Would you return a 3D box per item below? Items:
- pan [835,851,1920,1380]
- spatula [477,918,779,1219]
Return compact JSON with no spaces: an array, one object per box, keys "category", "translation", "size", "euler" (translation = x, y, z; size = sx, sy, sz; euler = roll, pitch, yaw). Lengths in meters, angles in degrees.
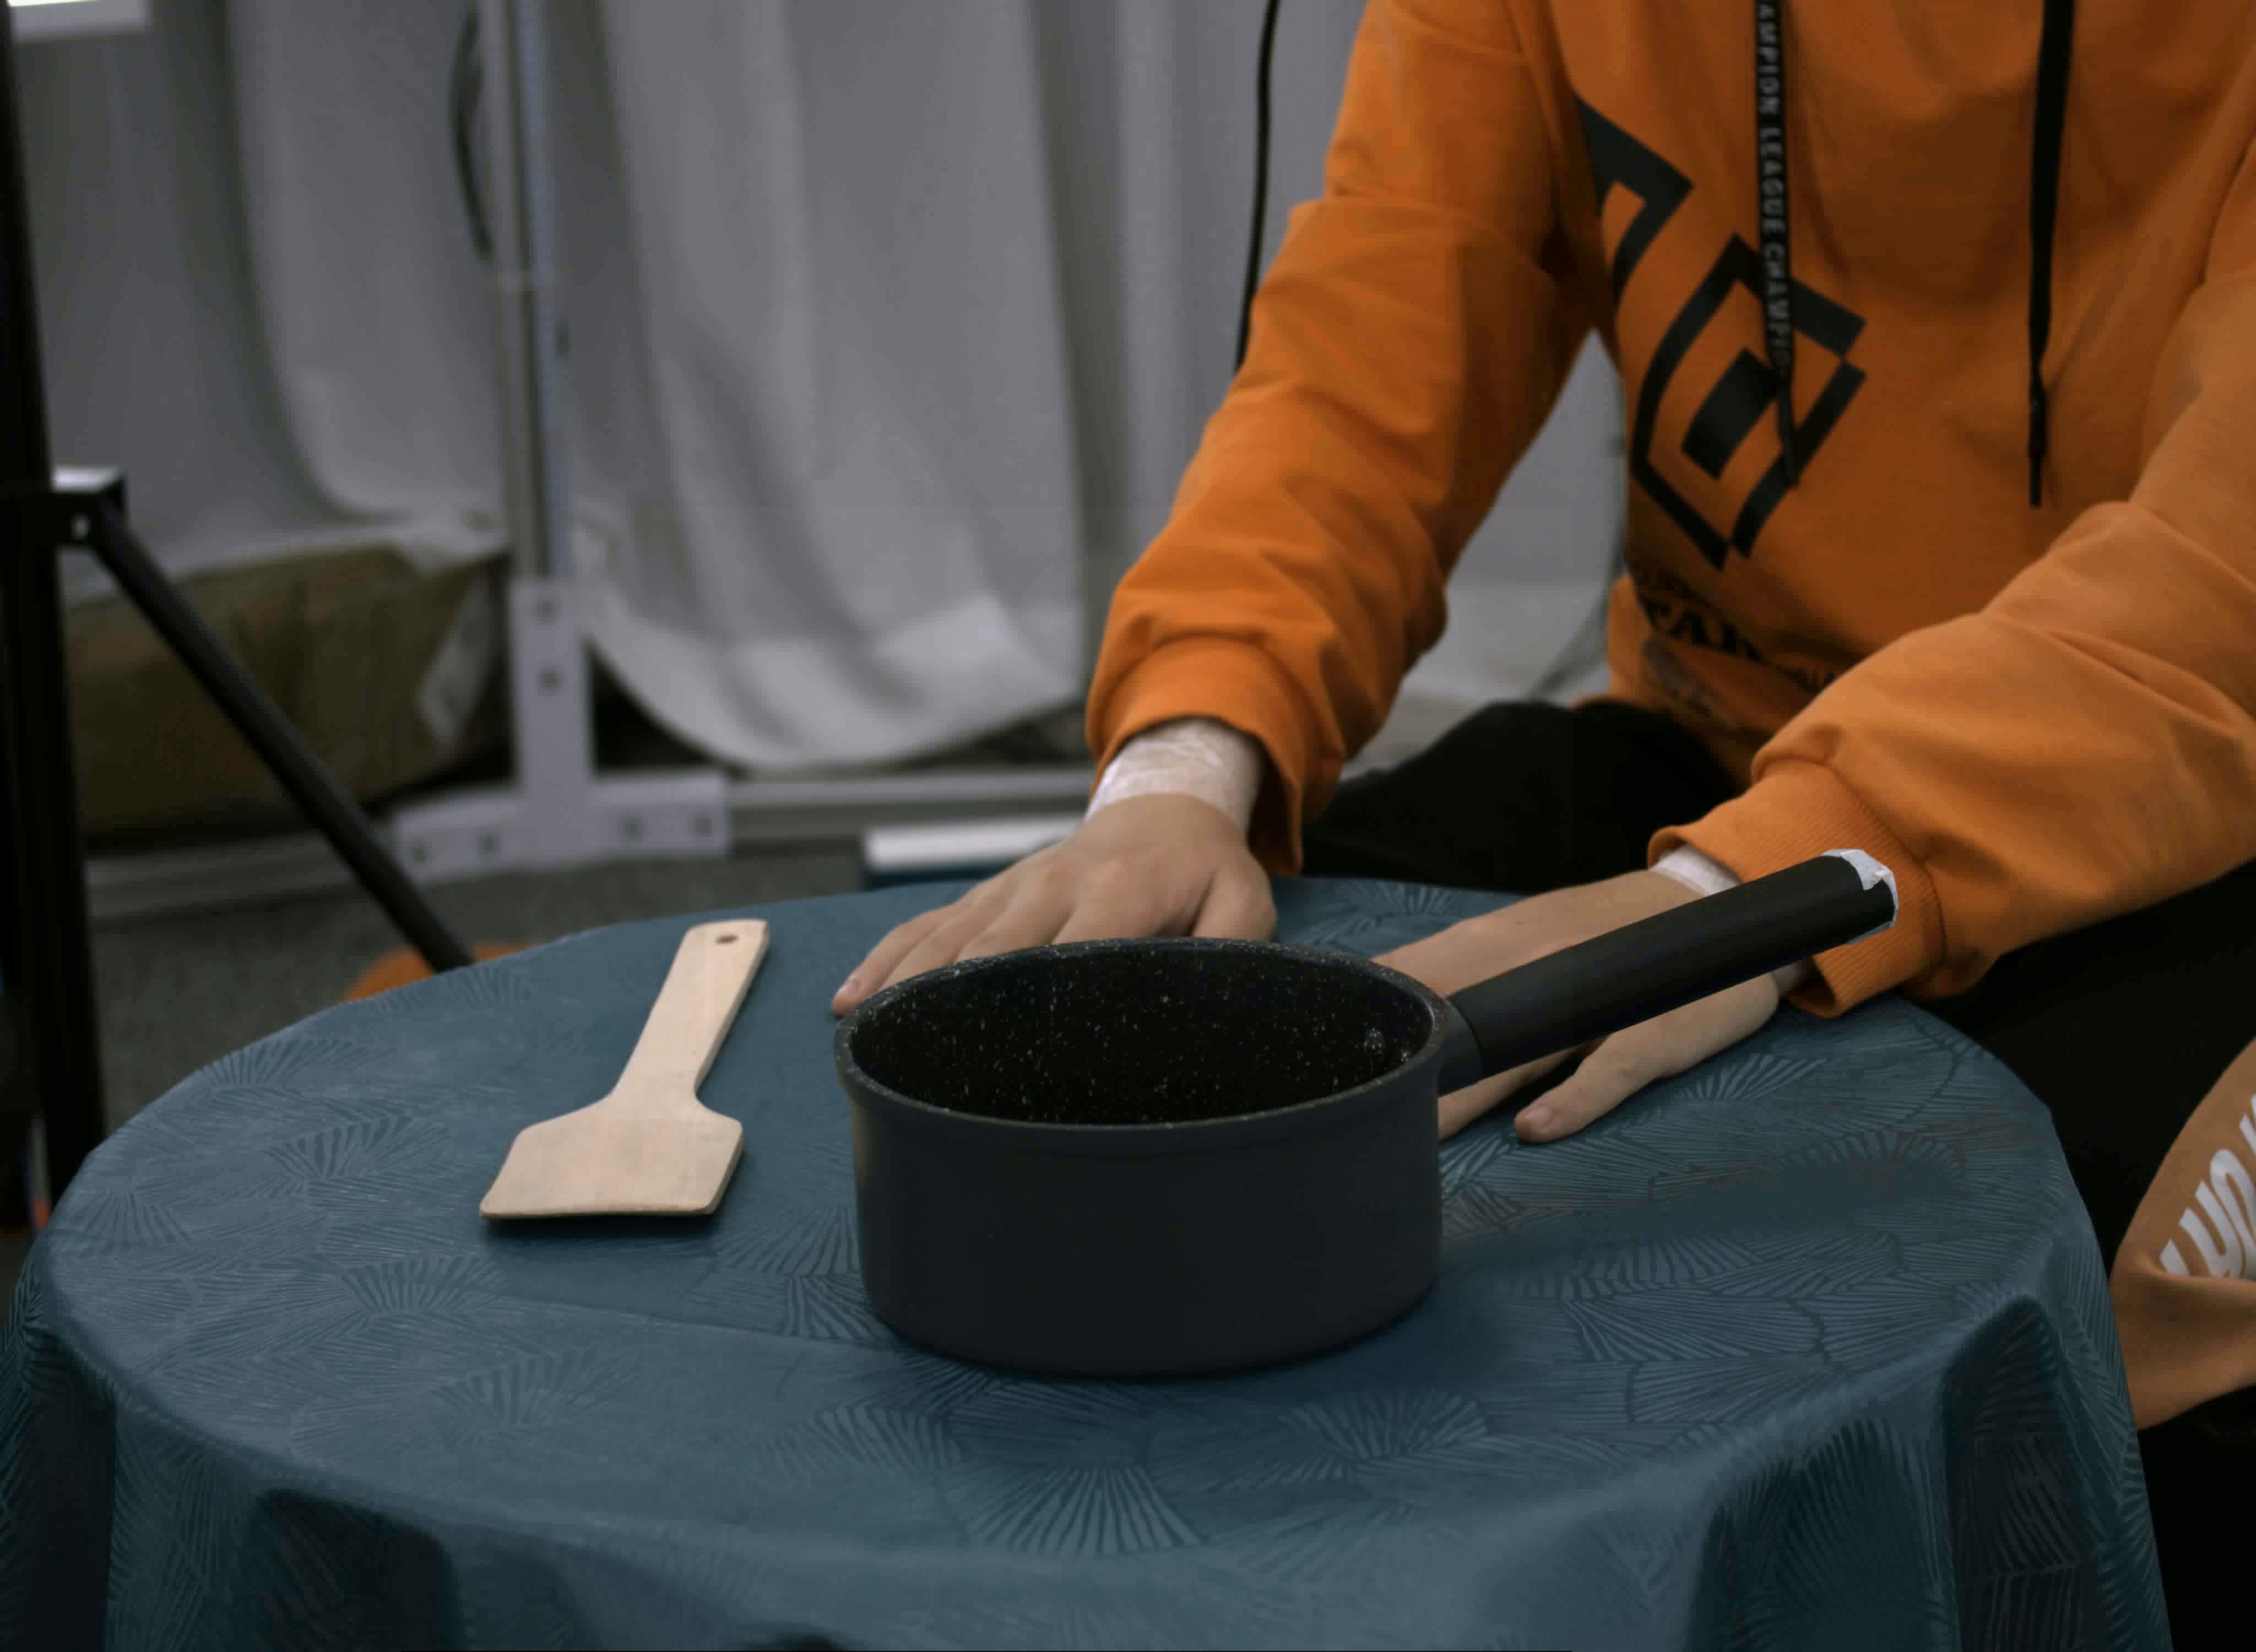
[{"category":"pan","translation":[0.078,0.077,1.501],"size":[0.323,0.086,0.175],"euler":[-10,18,-20]},{"category":"spatula","translation":[-0.145,0.075,1.684],"size":[0.072,0.010,0.293],"euler":[-4,15,6]}]
